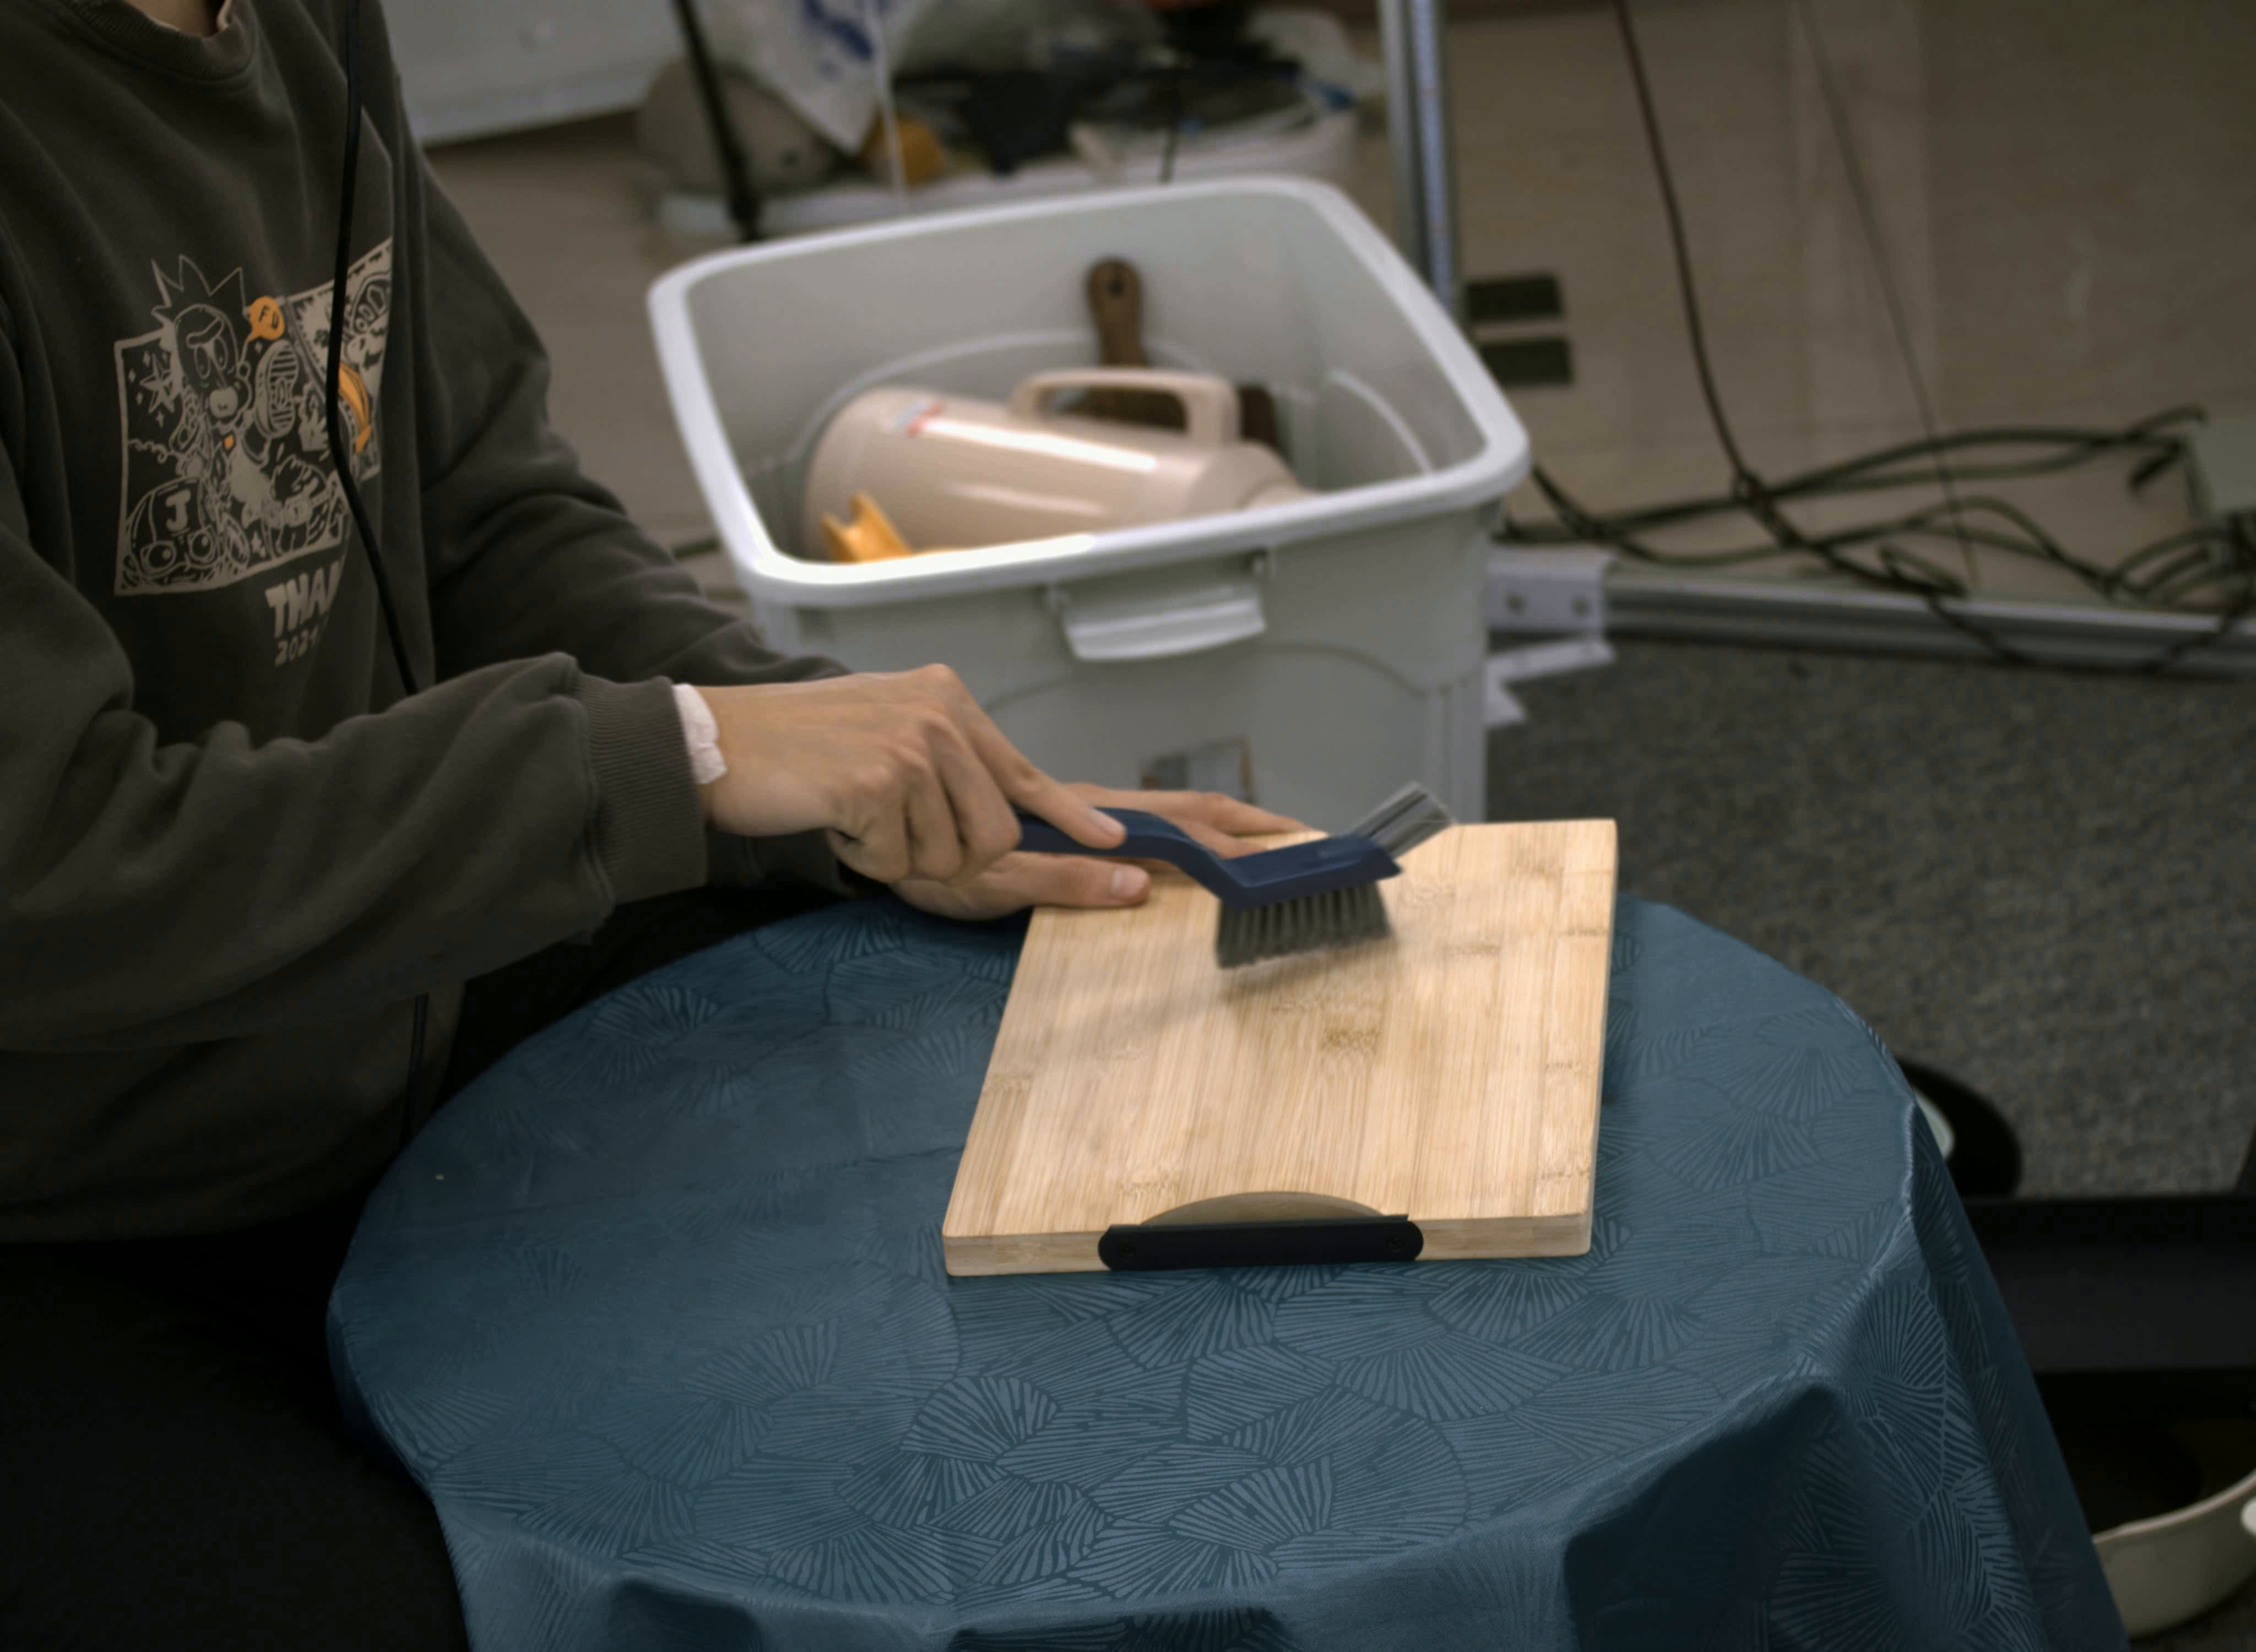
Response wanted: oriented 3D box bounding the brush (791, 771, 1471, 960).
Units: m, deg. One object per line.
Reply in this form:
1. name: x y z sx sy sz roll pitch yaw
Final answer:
1. brush: 0.002 -0.002 2.202 0.274 0.097 0.033 12 26 -32

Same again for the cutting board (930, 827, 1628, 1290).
1. cutting board: 0.067 0.086 2.226 0.250 0.024 0.343 -4 25 8
